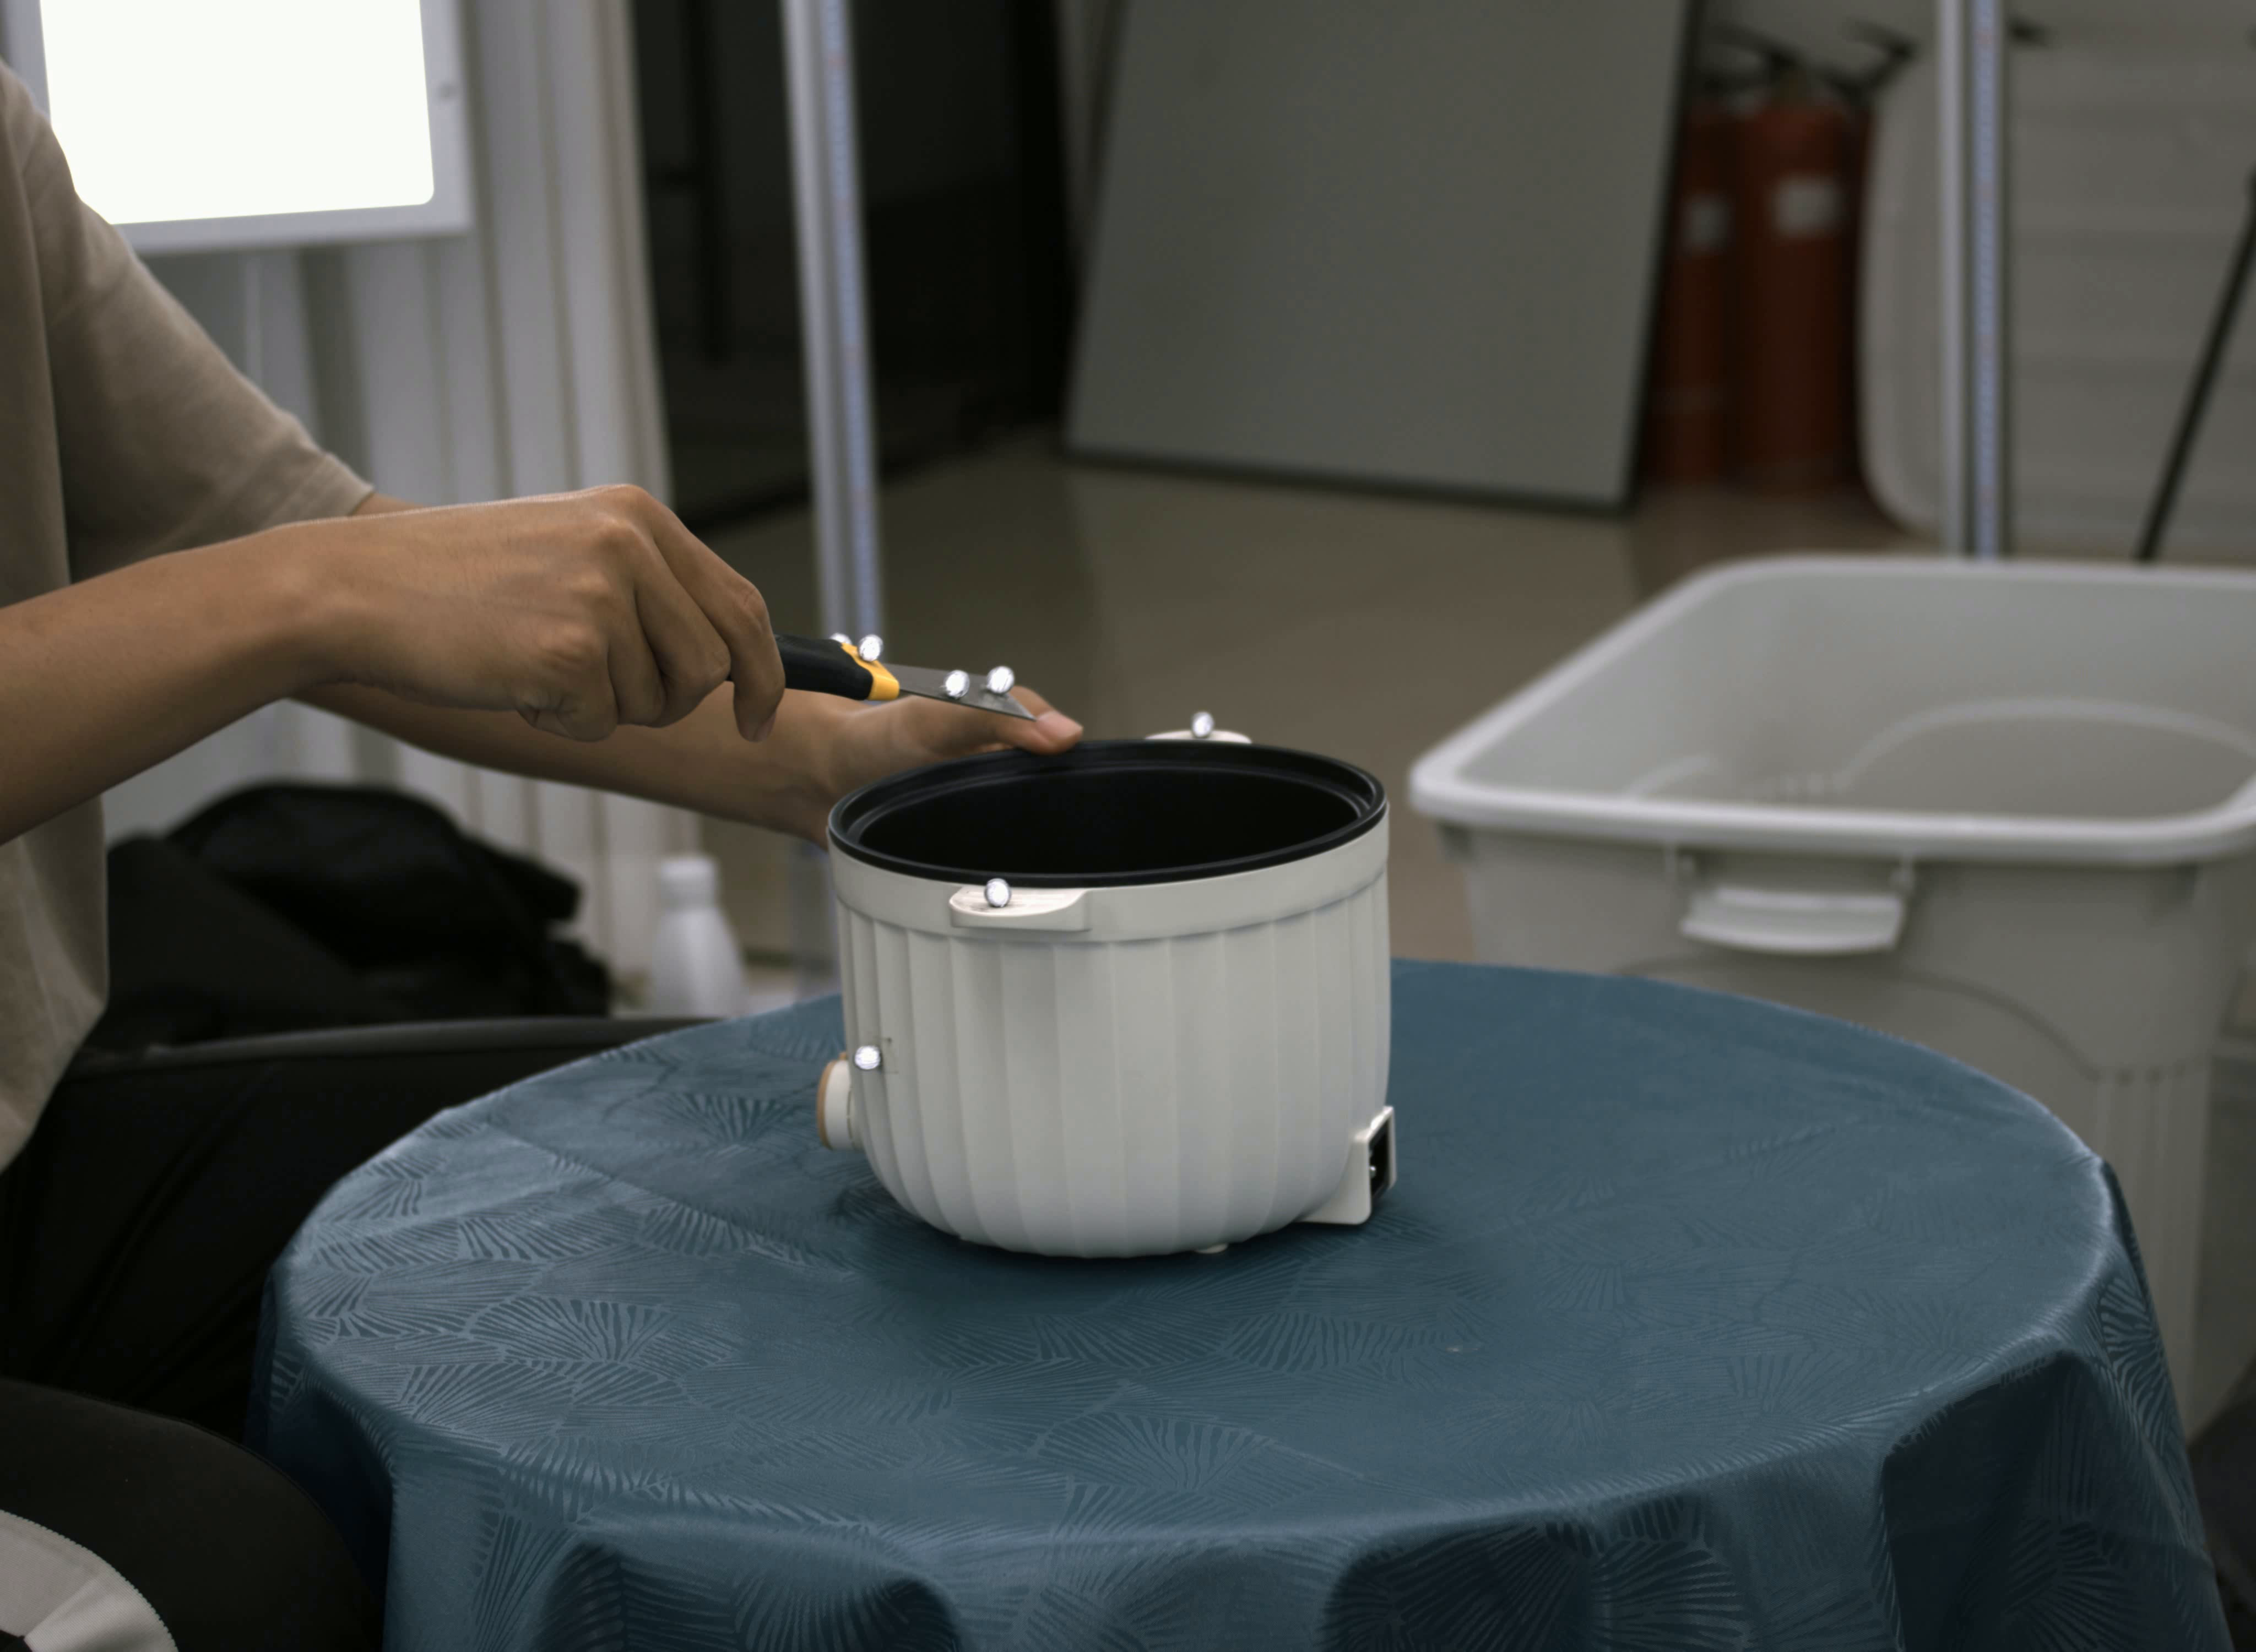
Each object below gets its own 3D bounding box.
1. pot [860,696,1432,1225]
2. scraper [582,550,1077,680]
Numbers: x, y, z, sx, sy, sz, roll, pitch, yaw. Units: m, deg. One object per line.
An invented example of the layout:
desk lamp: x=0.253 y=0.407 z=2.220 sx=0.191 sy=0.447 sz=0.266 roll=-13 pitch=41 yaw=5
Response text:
pot: x=0.005 y=0.046 z=1.758 sx=0.190 sy=0.144 sz=0.238 roll=5 pitch=14 yaw=16
scraper: x=-0.092 y=-0.064 z=1.671 sx=0.167 sy=0.015 sz=0.039 roll=8 pitch=25 yaw=-31
